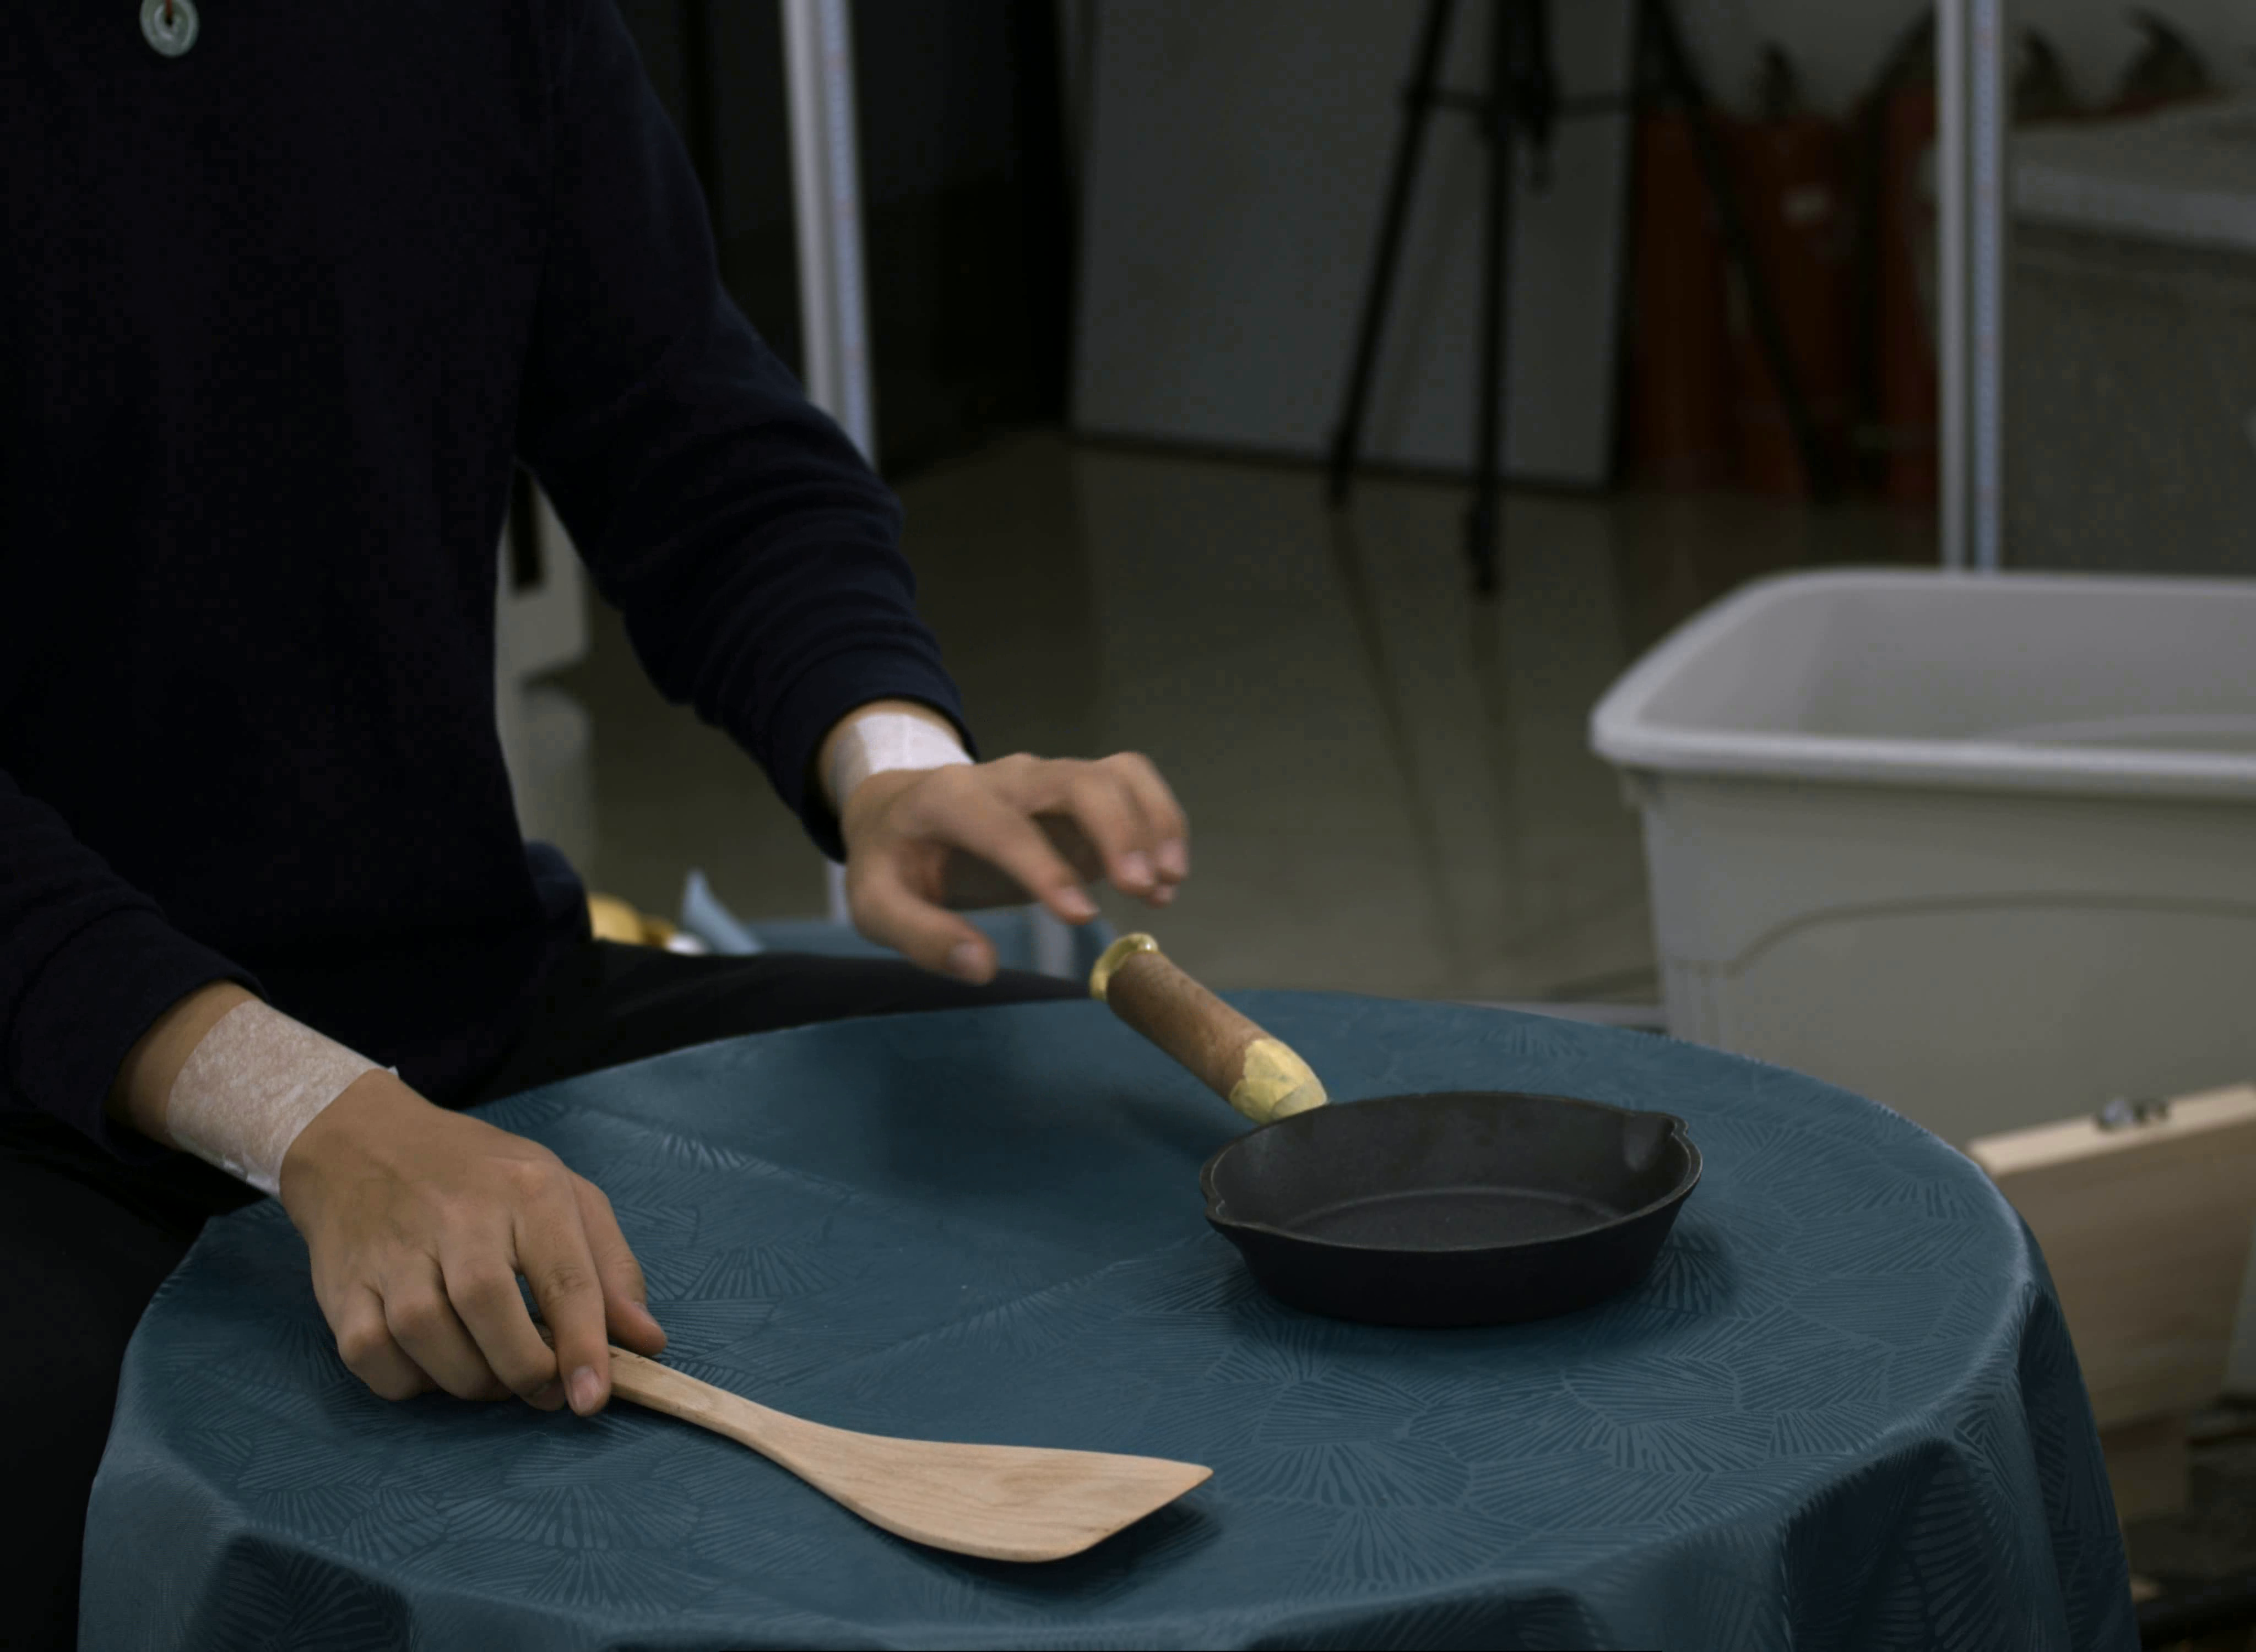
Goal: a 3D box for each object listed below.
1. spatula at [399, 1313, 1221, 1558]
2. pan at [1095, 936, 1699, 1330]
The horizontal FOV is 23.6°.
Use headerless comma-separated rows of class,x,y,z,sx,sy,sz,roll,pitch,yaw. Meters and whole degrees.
spatula,-0.104,0.171,1.566,0.078,0.017,0.330,-16,18,-43
pan,0.065,0.096,1.749,0.165,0.050,0.327,-10,16,-22
